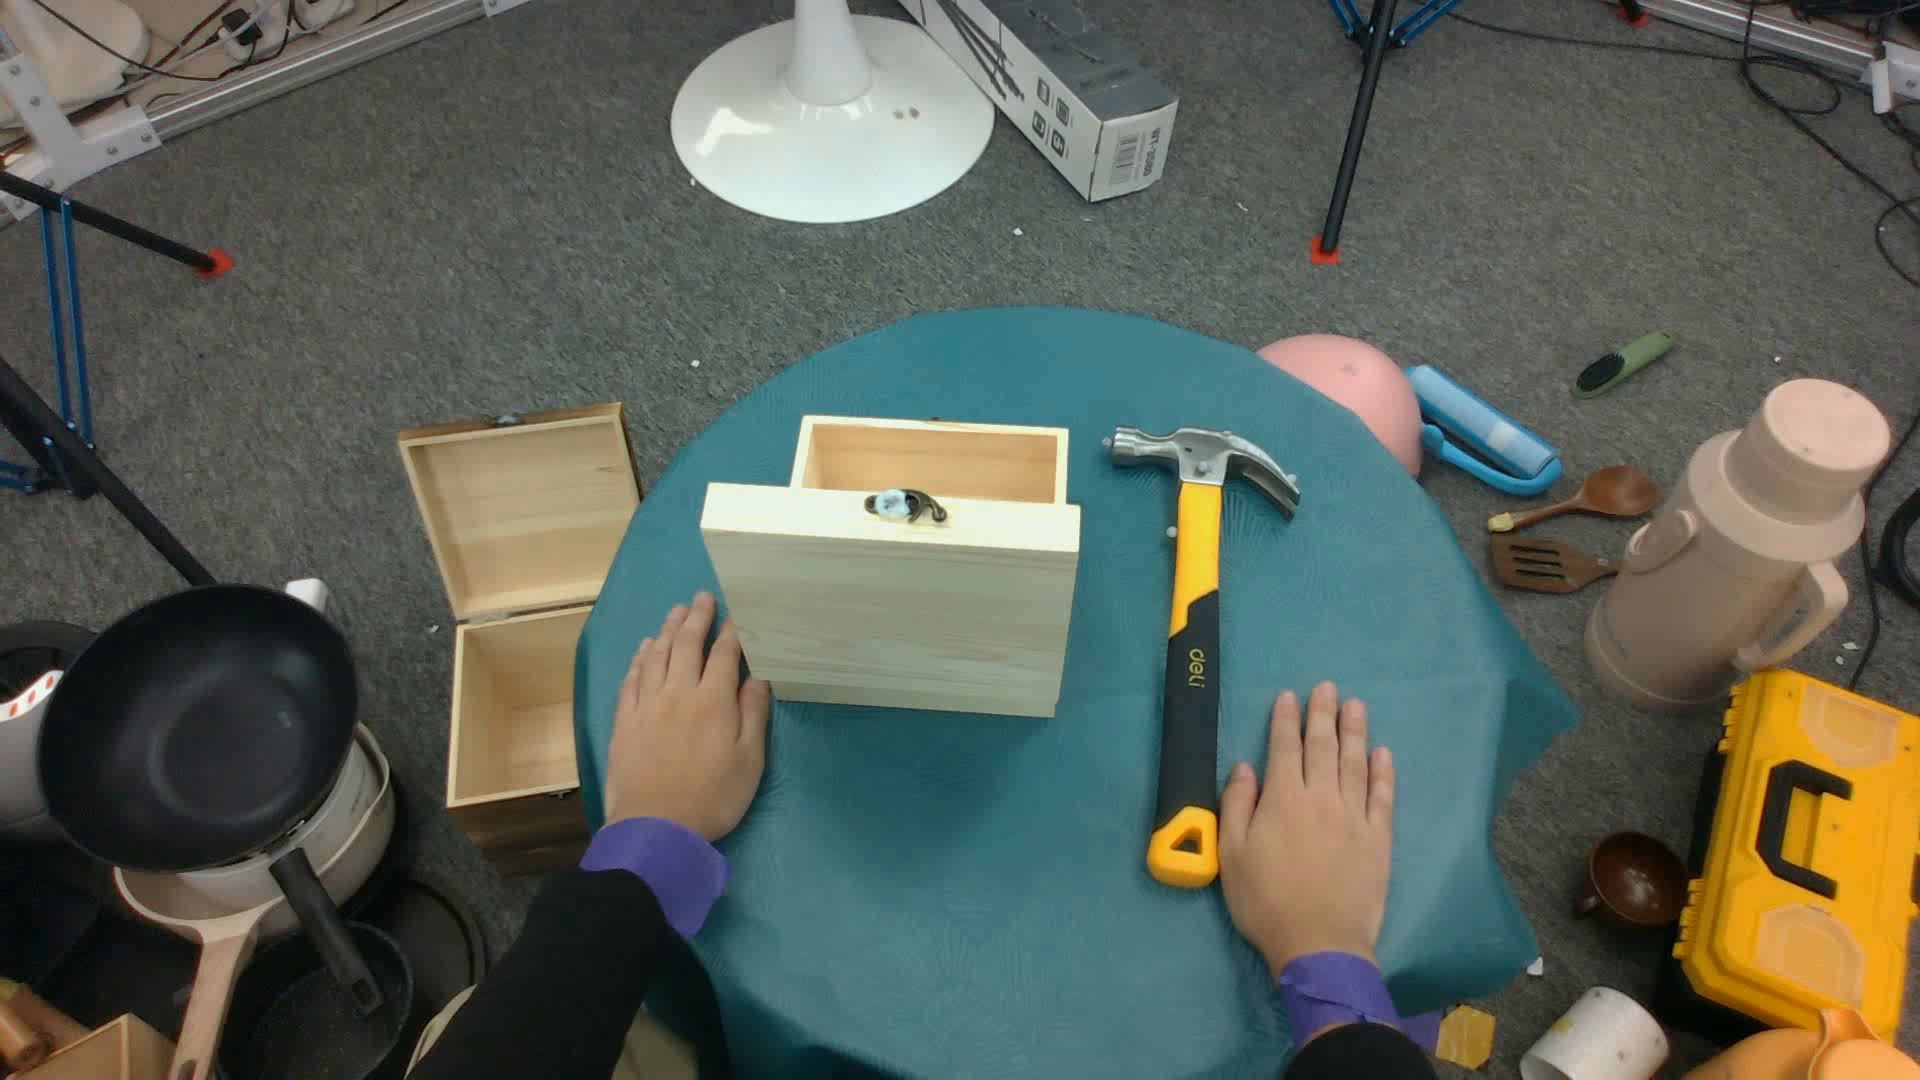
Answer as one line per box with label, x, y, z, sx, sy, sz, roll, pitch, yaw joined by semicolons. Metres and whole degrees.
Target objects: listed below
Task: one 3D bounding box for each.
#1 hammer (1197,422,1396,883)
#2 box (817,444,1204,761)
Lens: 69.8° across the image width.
hammer;0.225;0.055;0.876;0.131;0.032;0.340;-3;51;9
box;0.034;0.015;0.810;0.181;0.252;0.266;-6;52;4
